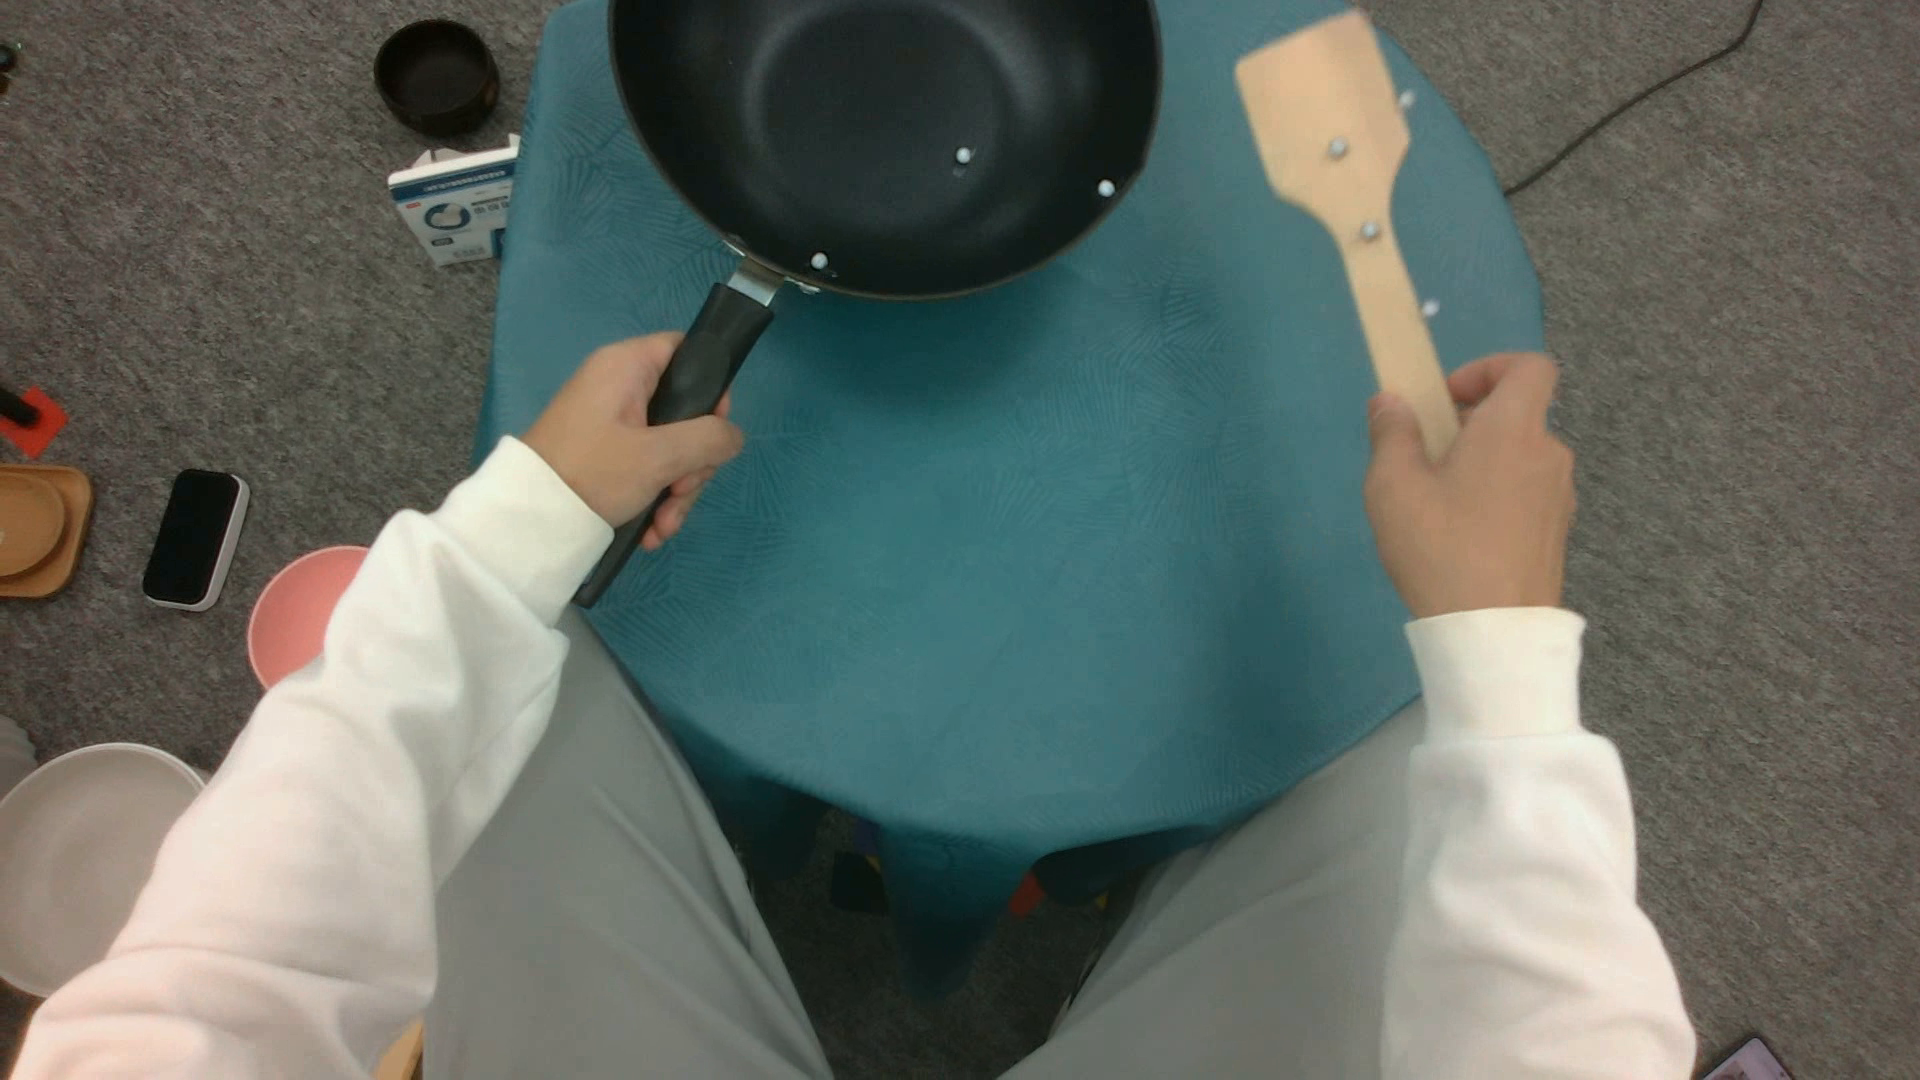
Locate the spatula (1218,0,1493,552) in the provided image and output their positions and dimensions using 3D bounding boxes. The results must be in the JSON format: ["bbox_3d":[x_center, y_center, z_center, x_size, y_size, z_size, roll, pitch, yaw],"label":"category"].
[{"bbox_3d":[0.195,-0.132,0.656,0.072,0.010,0.293,-21,70,22],"label":"spatula"}]

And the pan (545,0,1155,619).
[{"bbox_3d":[-0.081,-0.161,0.727,0.288,0.086,0.464,26,78,0],"label":"pan"}]
